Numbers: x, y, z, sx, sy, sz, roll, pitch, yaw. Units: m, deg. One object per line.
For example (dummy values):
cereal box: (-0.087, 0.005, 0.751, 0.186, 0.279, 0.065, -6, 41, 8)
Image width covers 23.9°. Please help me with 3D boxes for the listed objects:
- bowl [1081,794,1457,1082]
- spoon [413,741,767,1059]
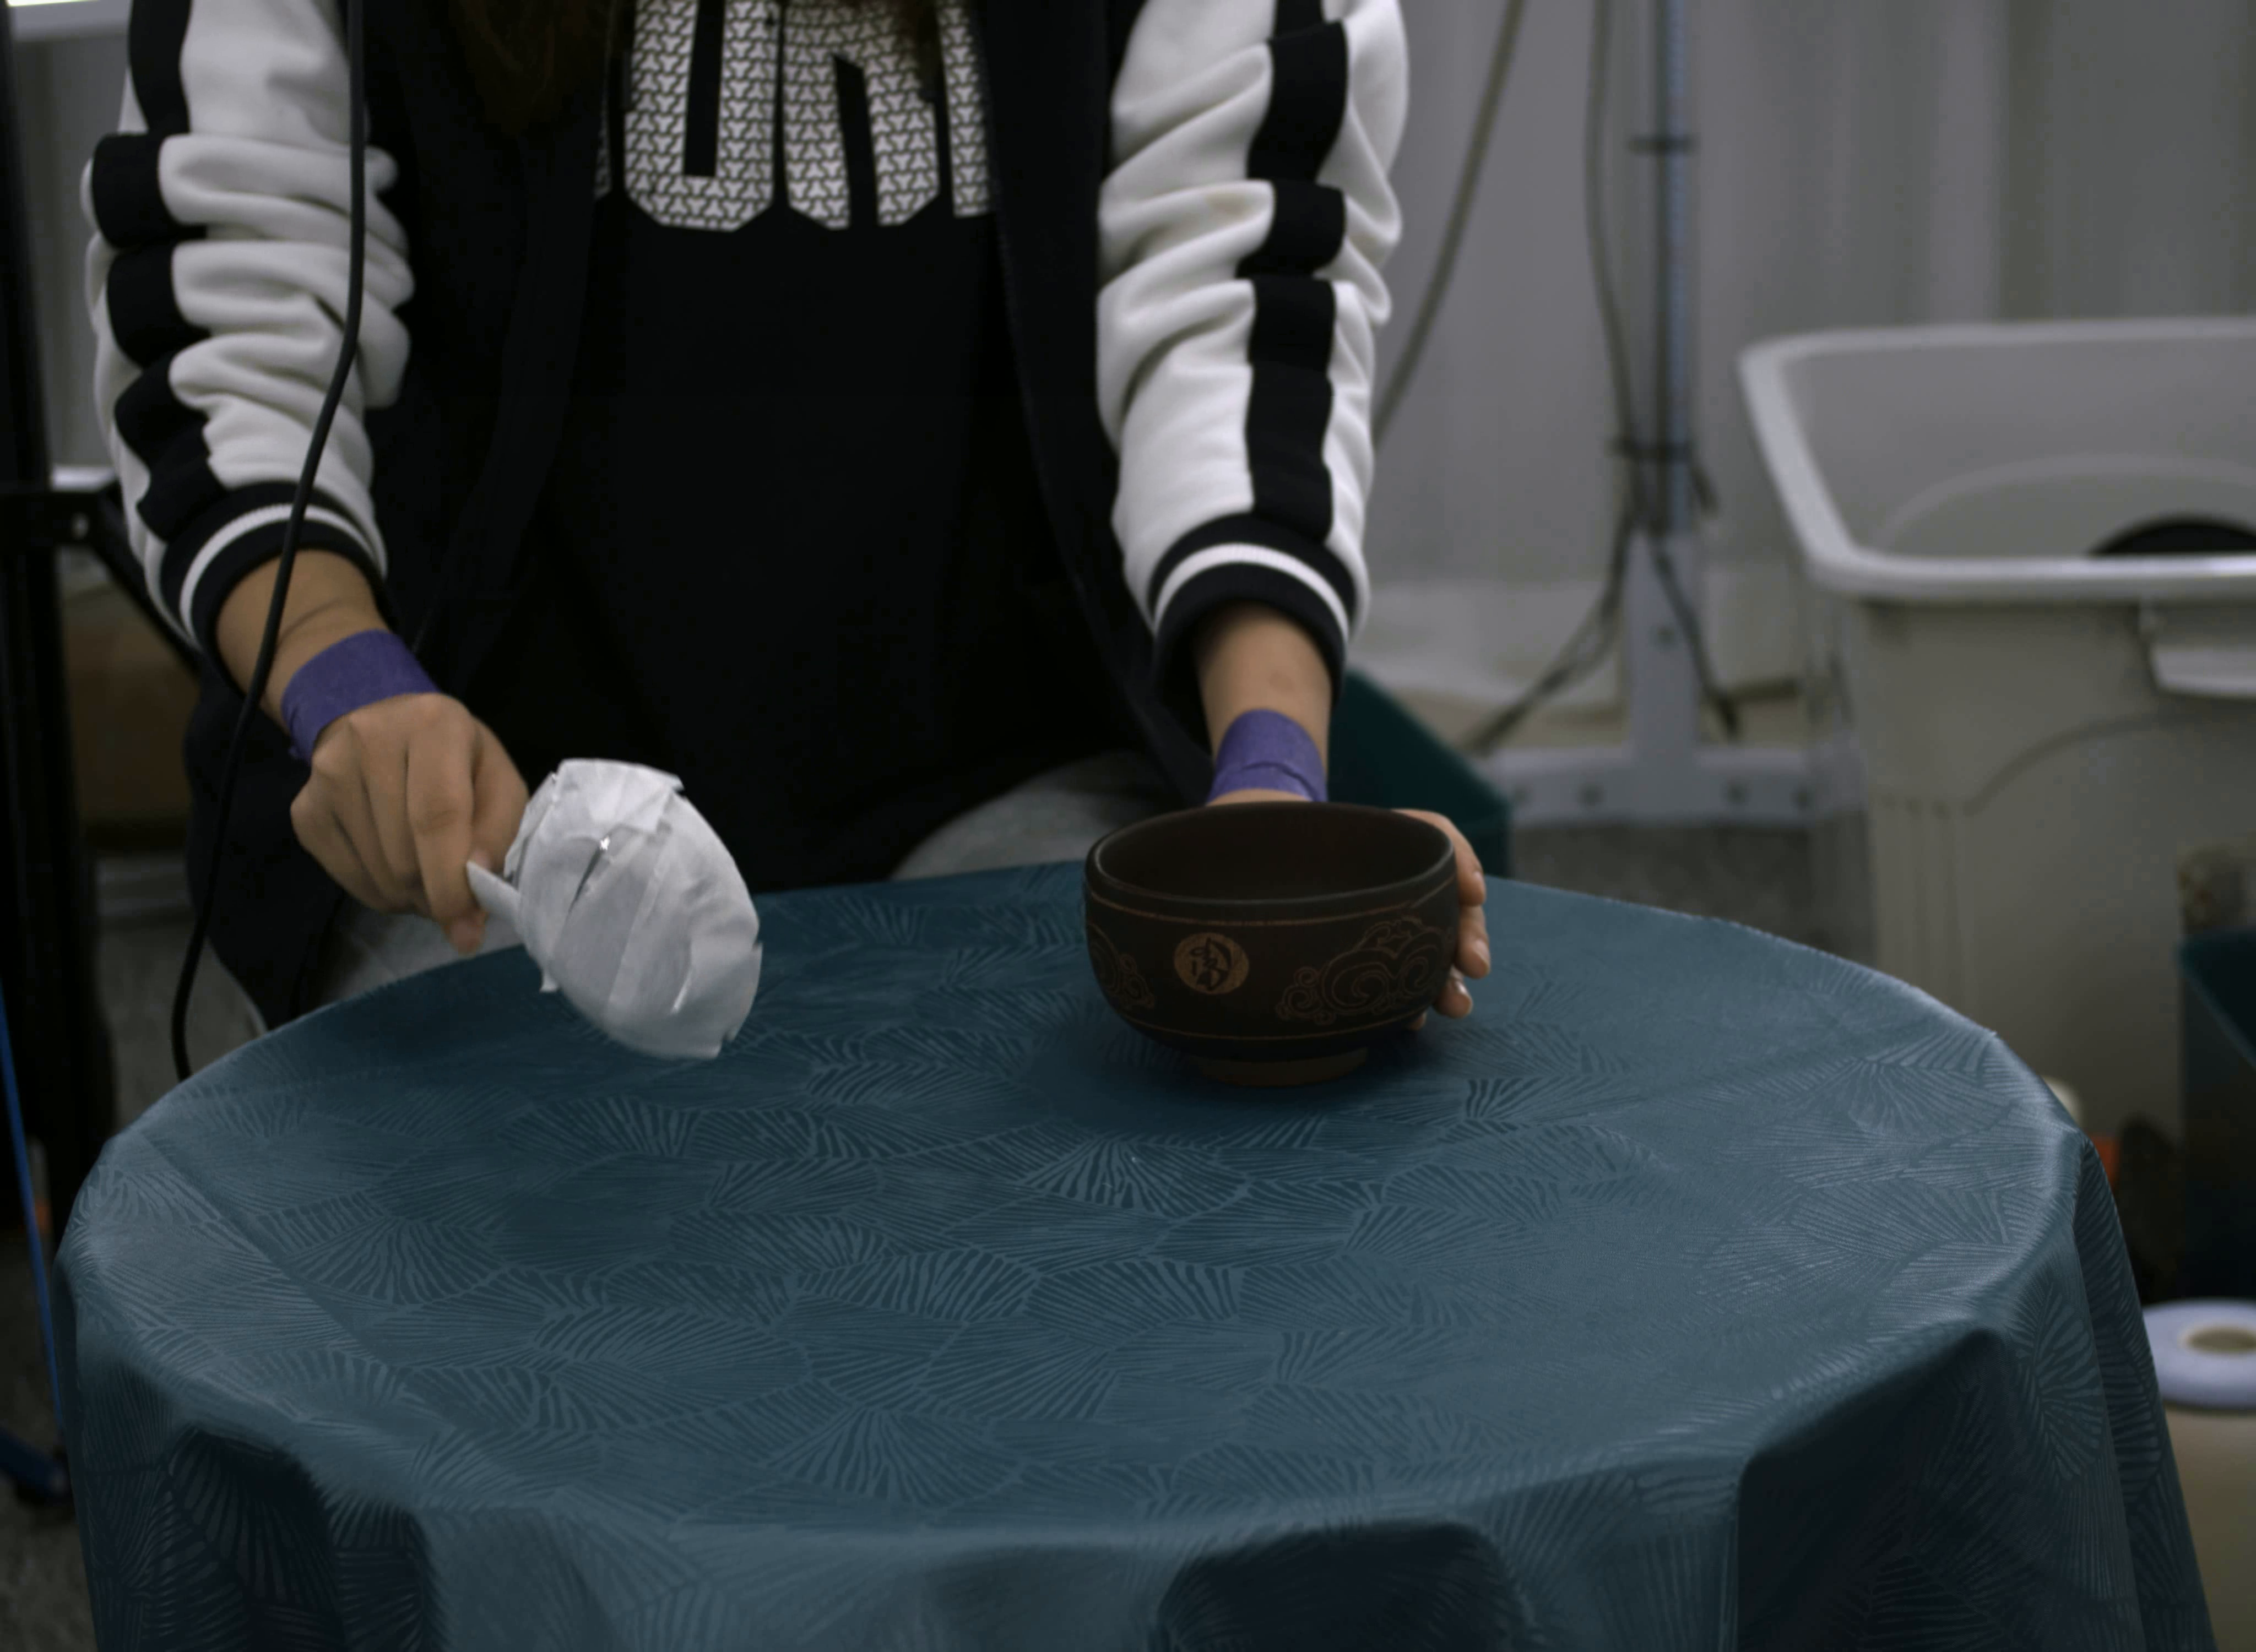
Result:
bowl: (0.045, 0.039, 1.661, 0.117, 0.070, 0.118, -2, 16, -1)
spoon: (-0.170, 0.016, 1.652, 0.058, 0.101, 0.281, -17, 9, -14)
